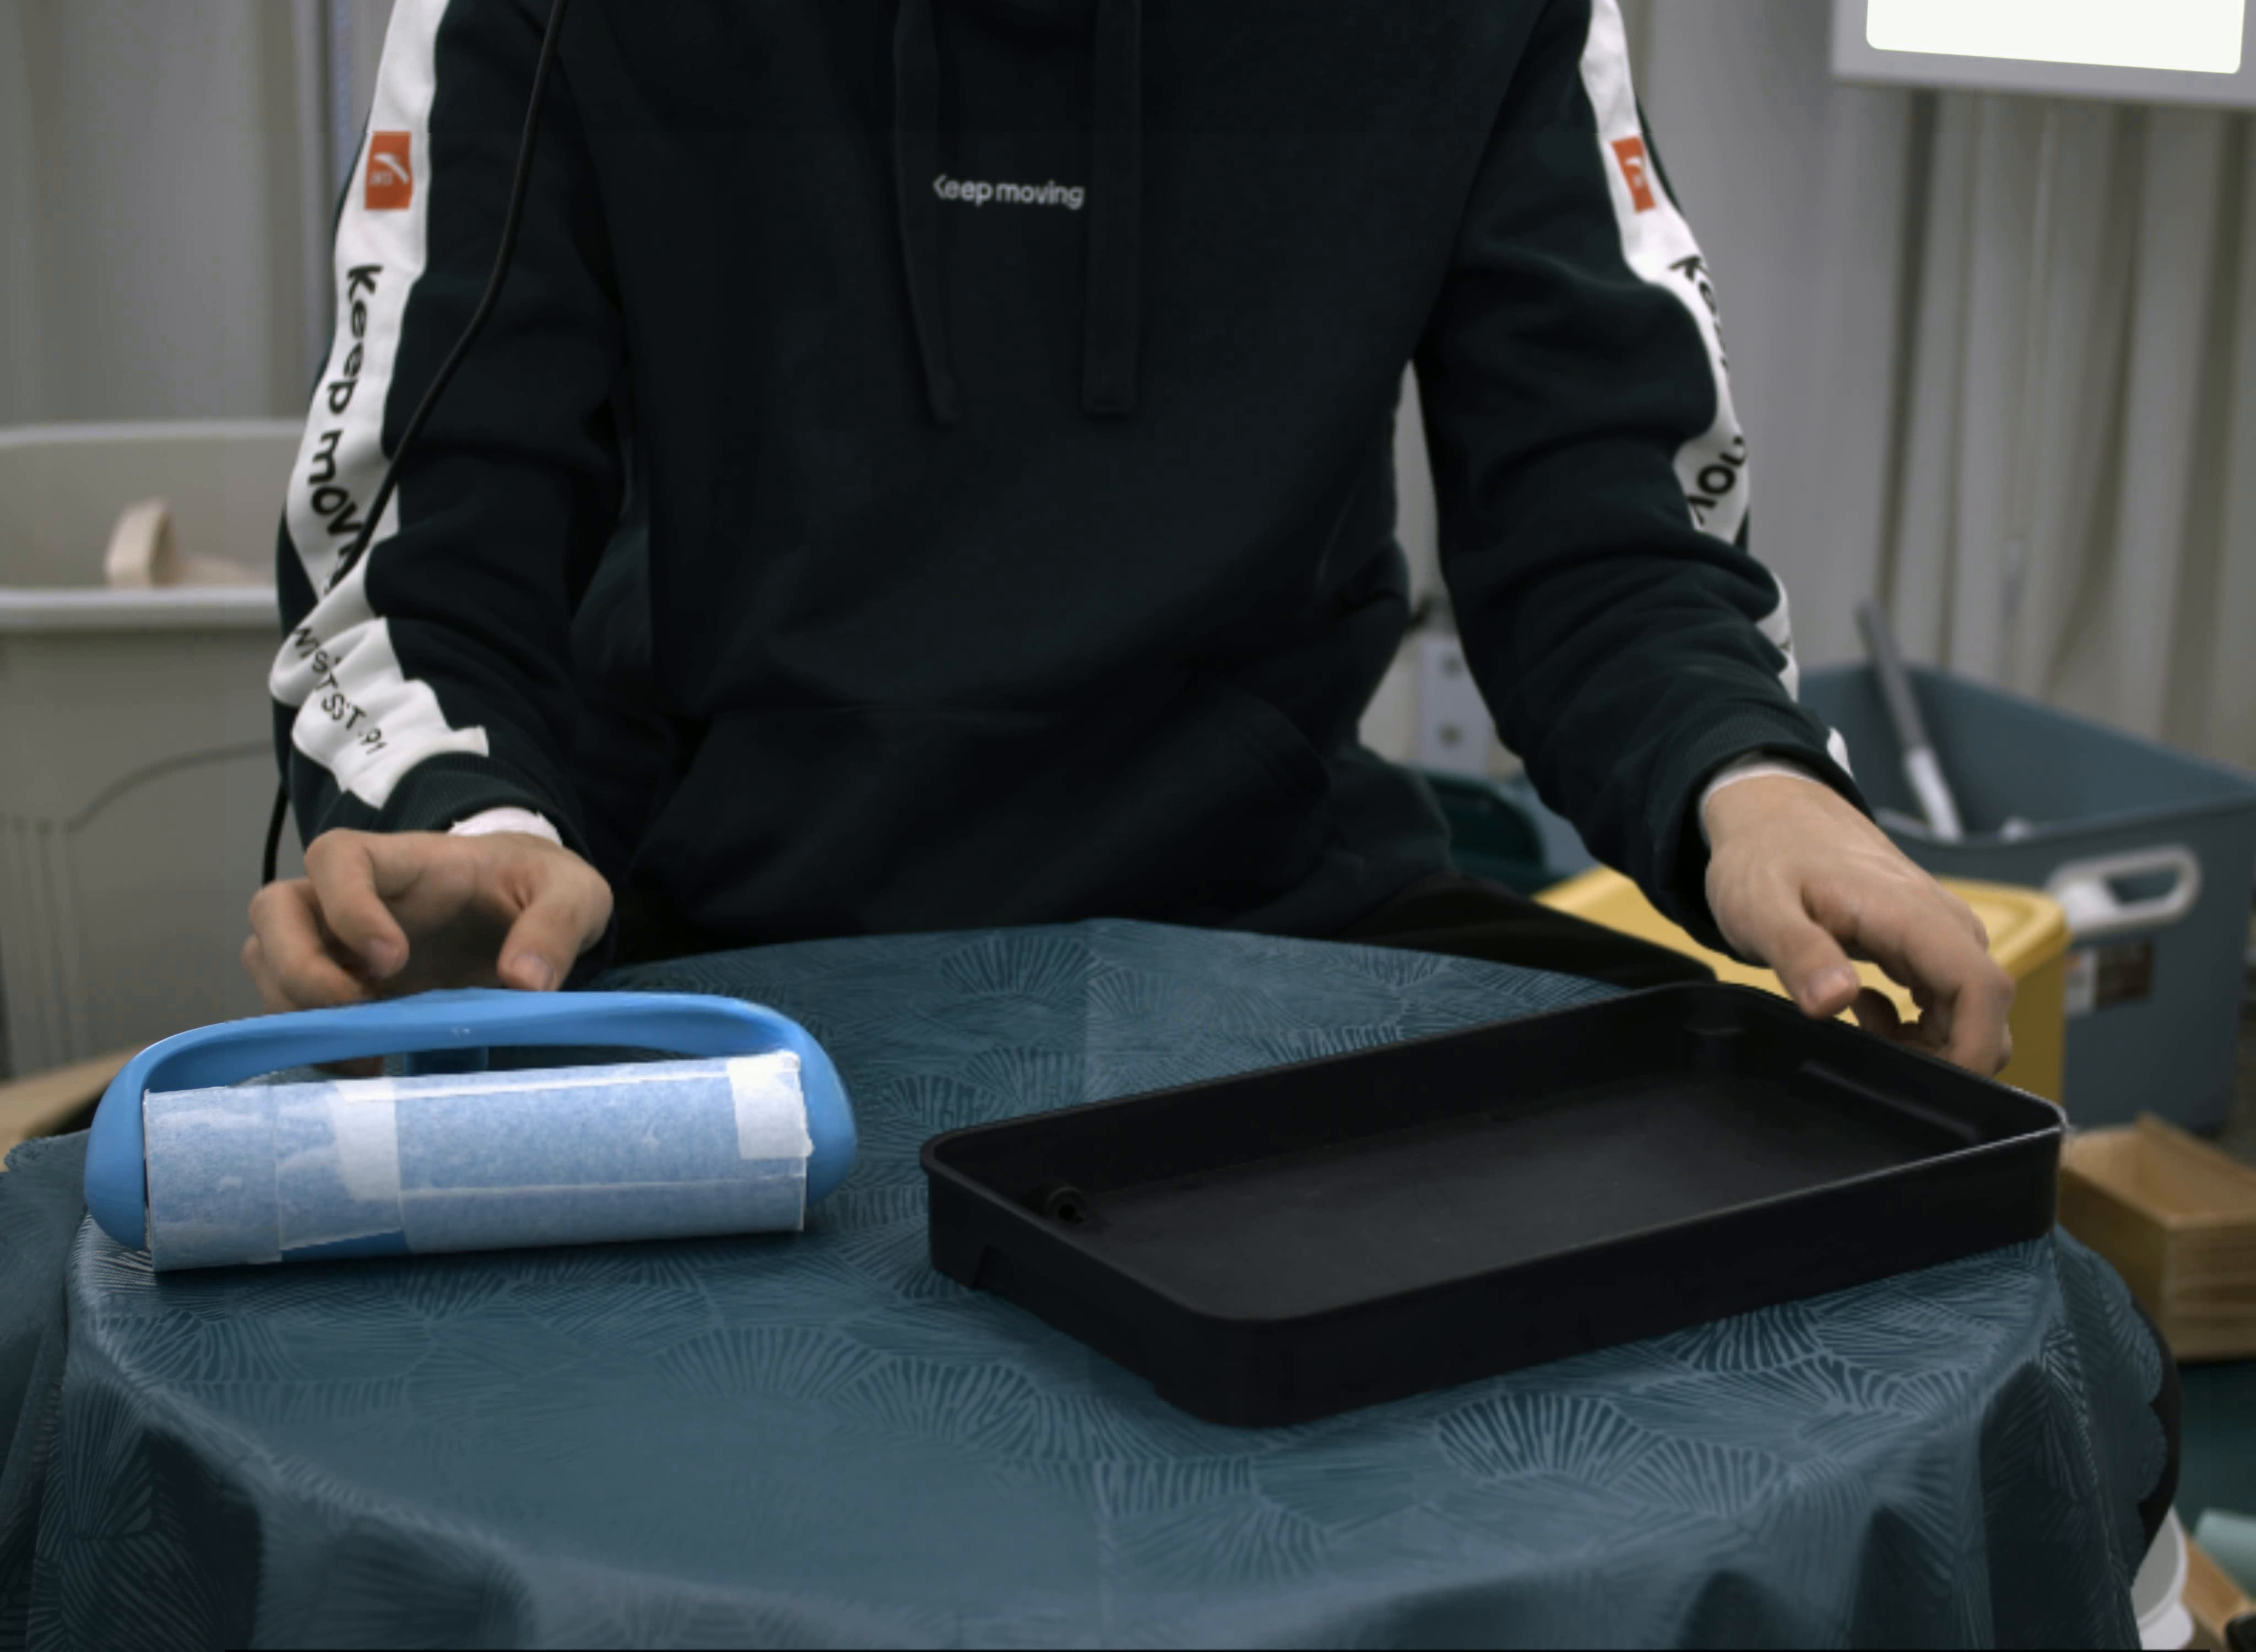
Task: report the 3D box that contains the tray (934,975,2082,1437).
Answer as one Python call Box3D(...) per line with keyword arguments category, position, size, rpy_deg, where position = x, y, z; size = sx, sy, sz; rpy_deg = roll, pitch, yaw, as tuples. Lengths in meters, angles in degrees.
Box3D(category="tray", position=(0.116, 0.107, 1.576), size=(0.319, 0.037, 0.182), rpy_deg=(-11, 19, -33))

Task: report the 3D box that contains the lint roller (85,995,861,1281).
Box3D(category="lint roller", position=(-0.206, 0.082, 1.613), size=(0.229, 0.068, 0.178), rpy_deg=(-6, 18, -13))
